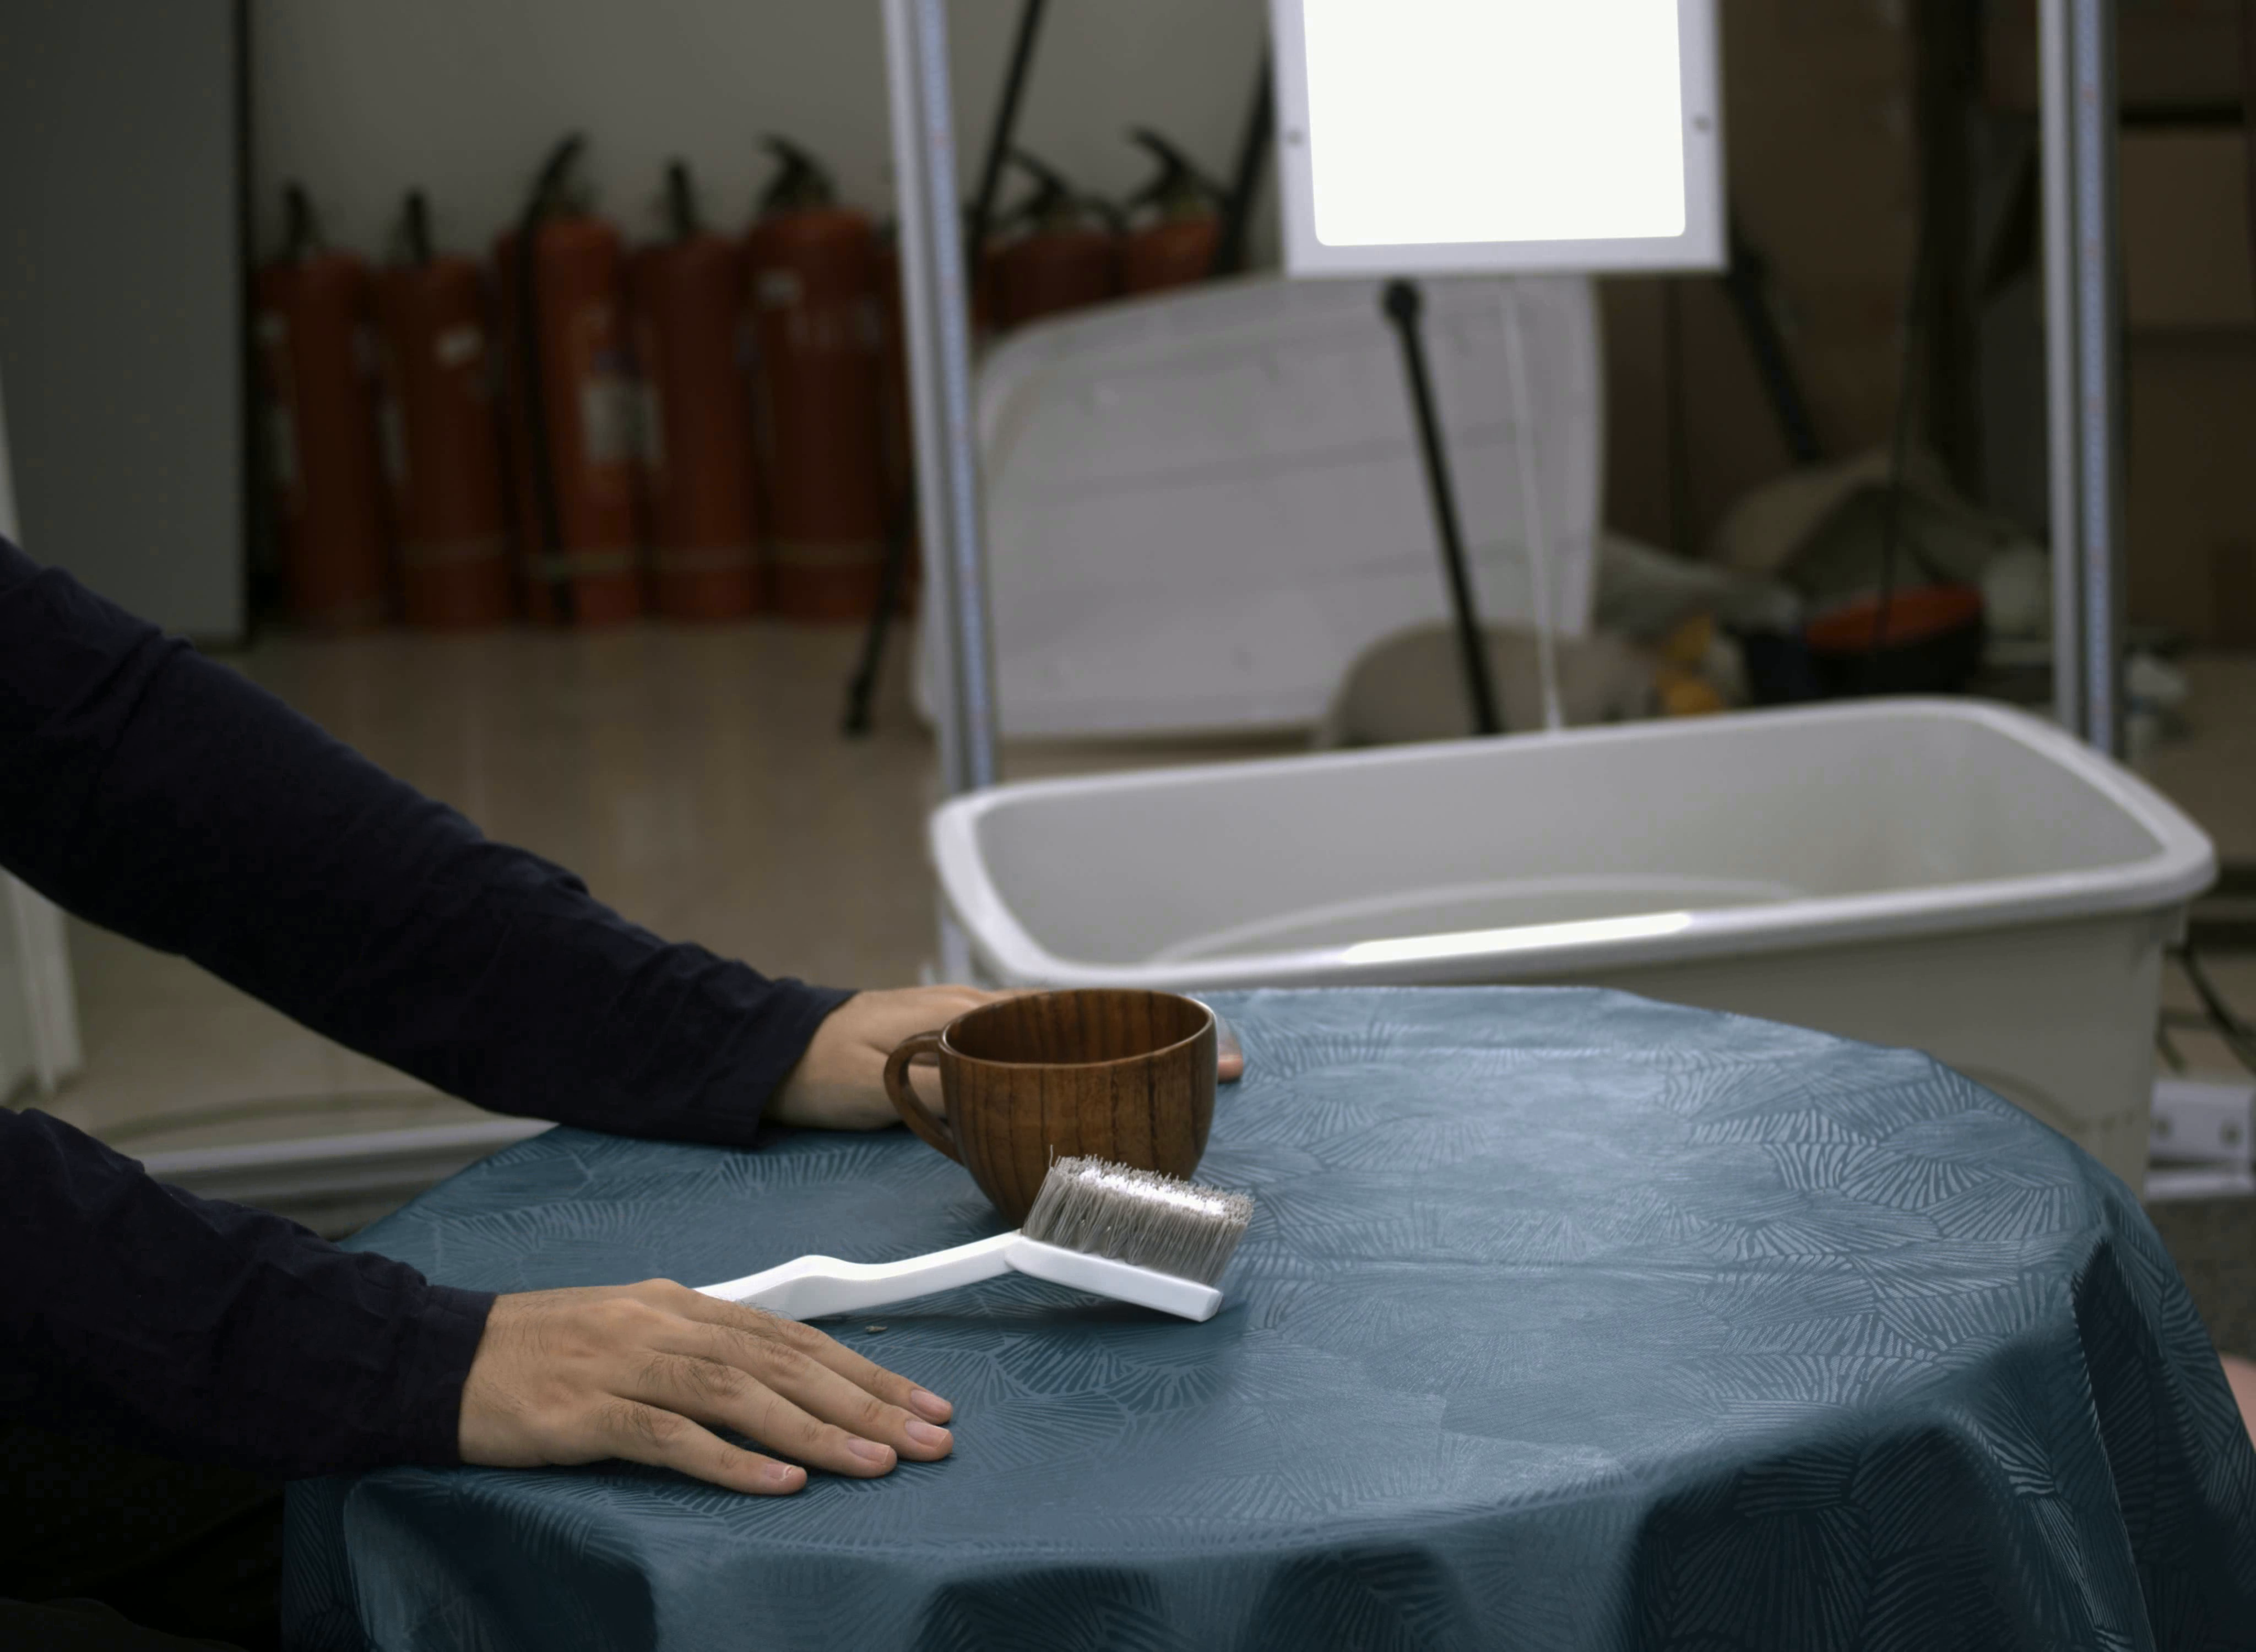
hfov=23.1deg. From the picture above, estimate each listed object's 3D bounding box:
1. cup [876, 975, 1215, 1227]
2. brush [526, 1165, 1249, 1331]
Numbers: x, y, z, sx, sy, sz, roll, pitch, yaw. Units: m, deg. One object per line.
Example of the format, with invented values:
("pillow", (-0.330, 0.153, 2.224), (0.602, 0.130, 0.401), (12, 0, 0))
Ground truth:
("cup", (-0.028, 0.095, 1.888), (0.121, 0.068, 0.094), (3, 17, 19))
("brush", (-0.080, 0.137, 1.788), (0.246, 0.050, 0.034), (-1, 19, 14))
